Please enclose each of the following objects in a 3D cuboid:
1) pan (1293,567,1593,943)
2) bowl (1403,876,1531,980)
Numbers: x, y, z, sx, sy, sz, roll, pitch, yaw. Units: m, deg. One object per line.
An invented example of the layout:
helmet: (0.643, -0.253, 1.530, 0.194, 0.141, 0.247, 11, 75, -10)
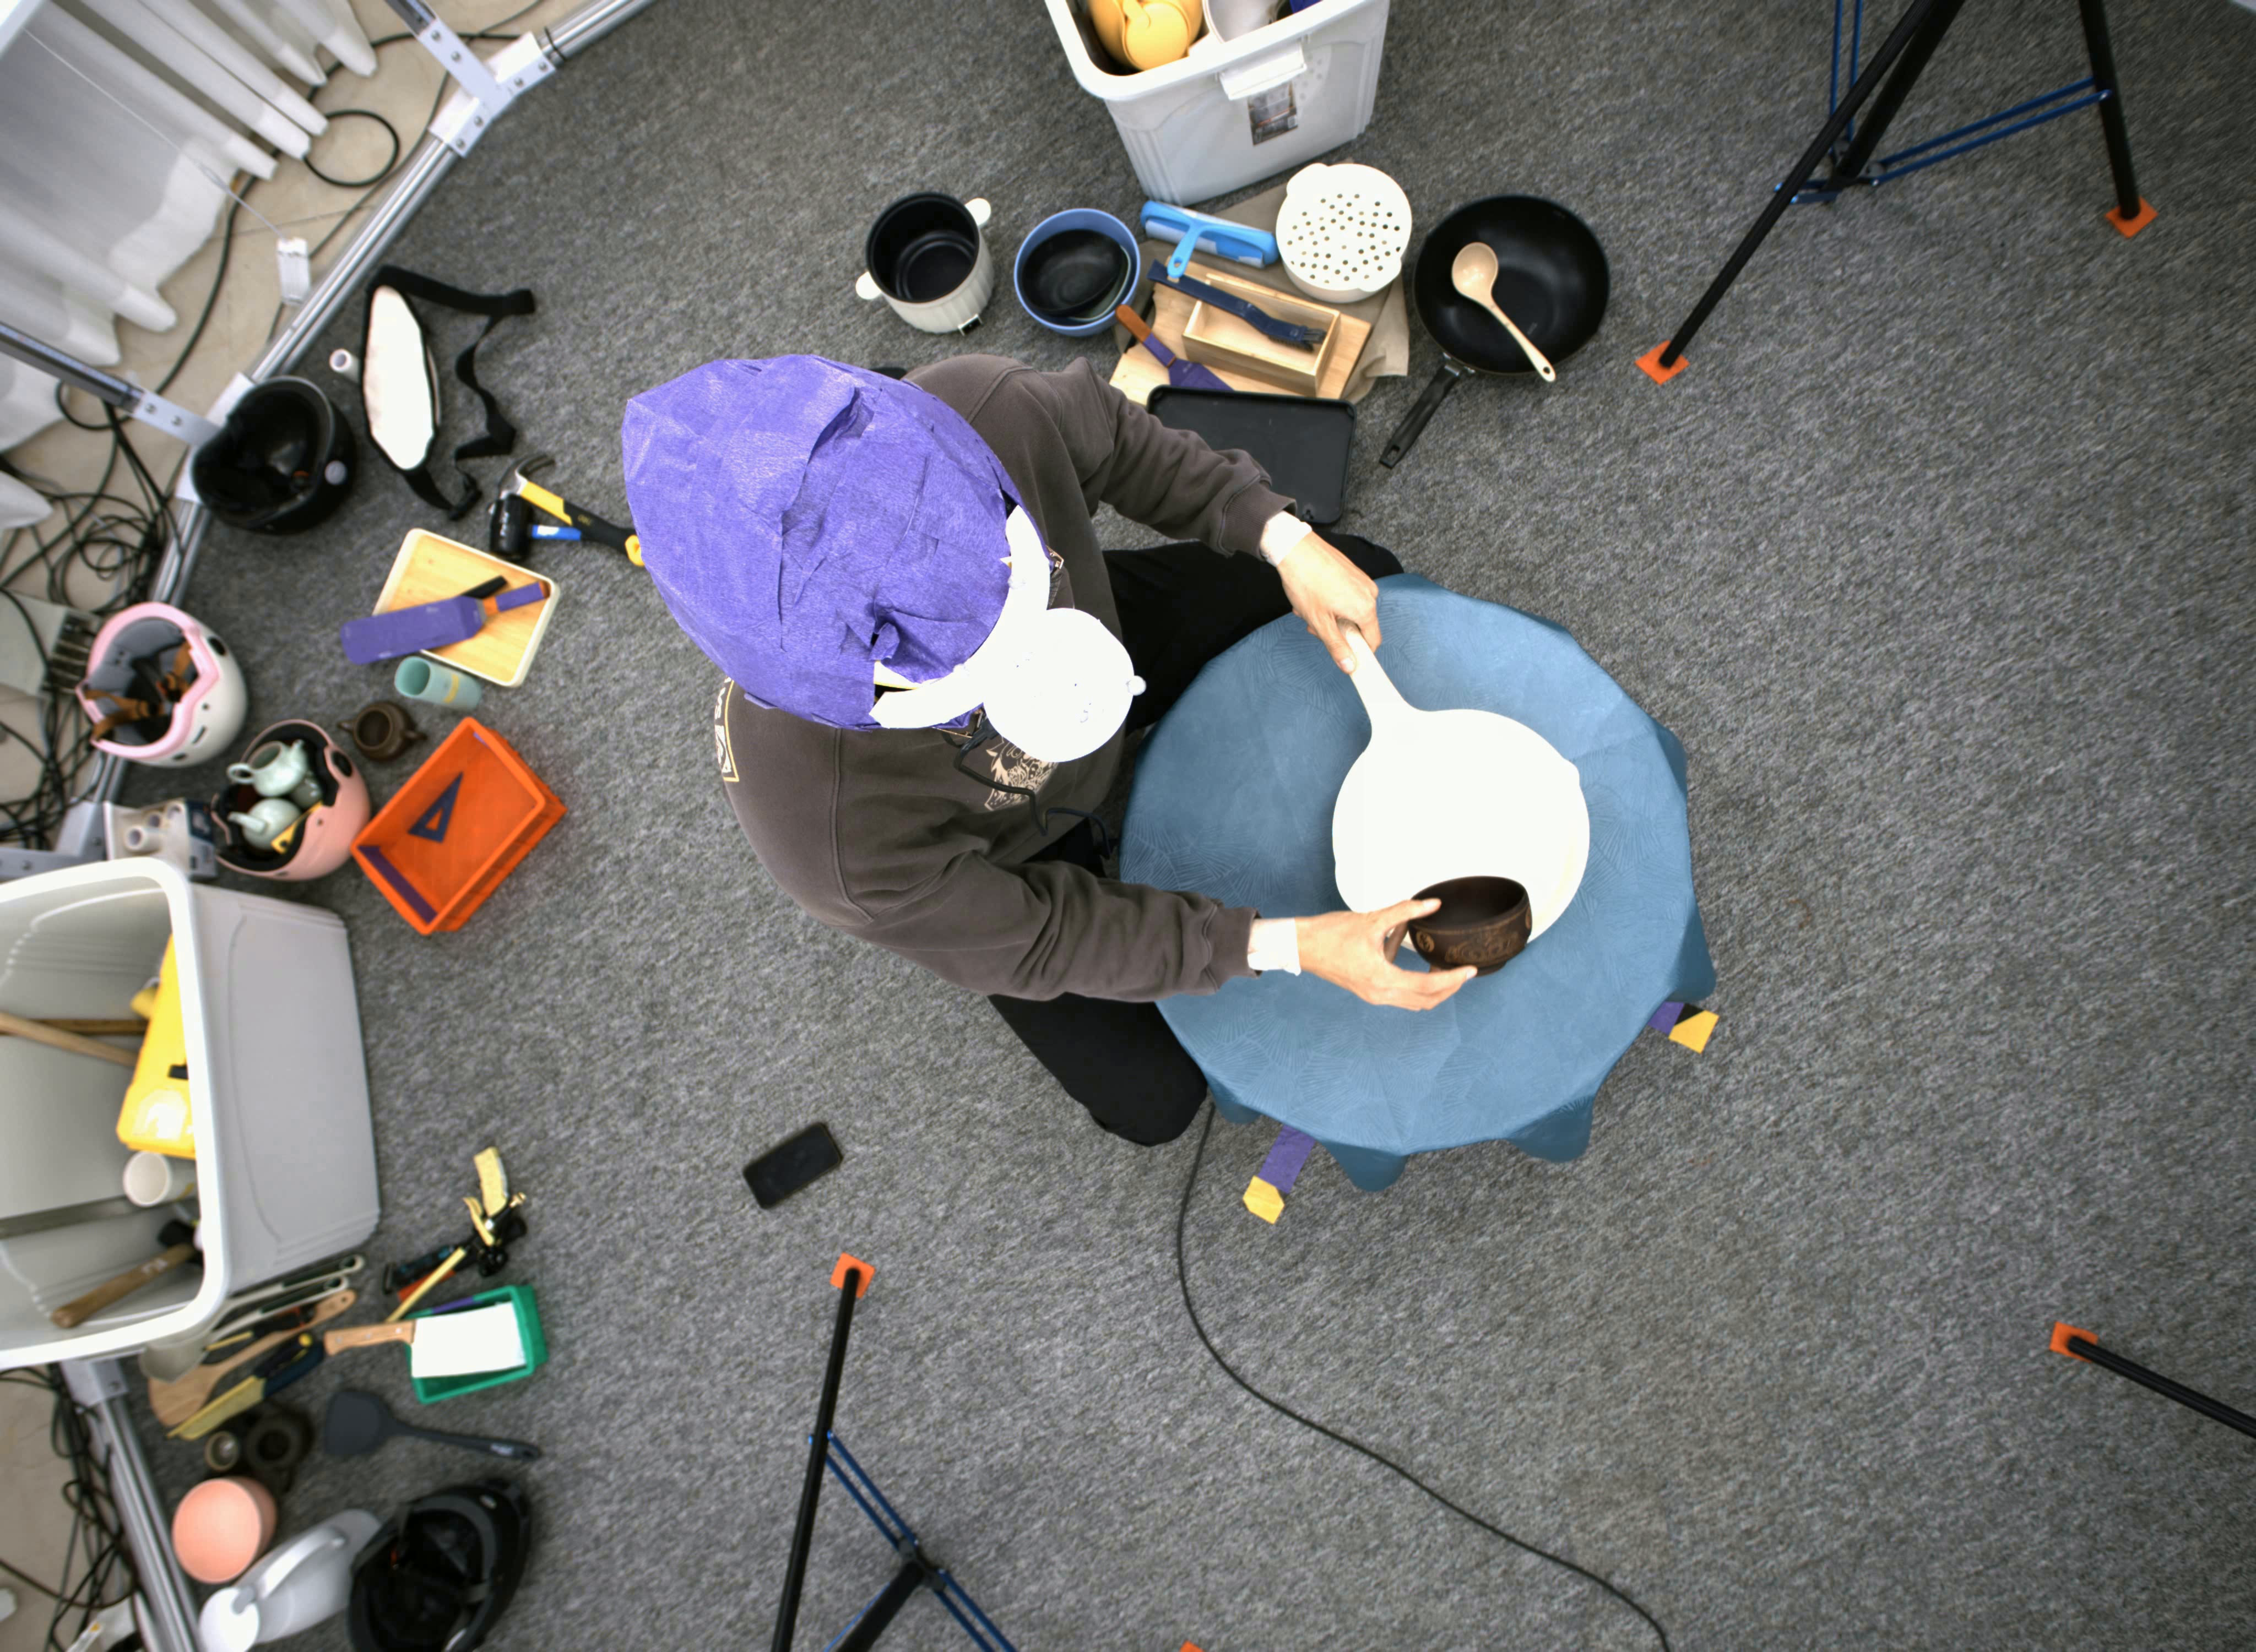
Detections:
pan: (0.294, -0.074, 1.410, 0.265, 0.102, 0.432, -31, 82, 9)
bowl: (0.326, 0.101, 1.312, 0.118, 0.116, 0.071, -14, 110, 9)
